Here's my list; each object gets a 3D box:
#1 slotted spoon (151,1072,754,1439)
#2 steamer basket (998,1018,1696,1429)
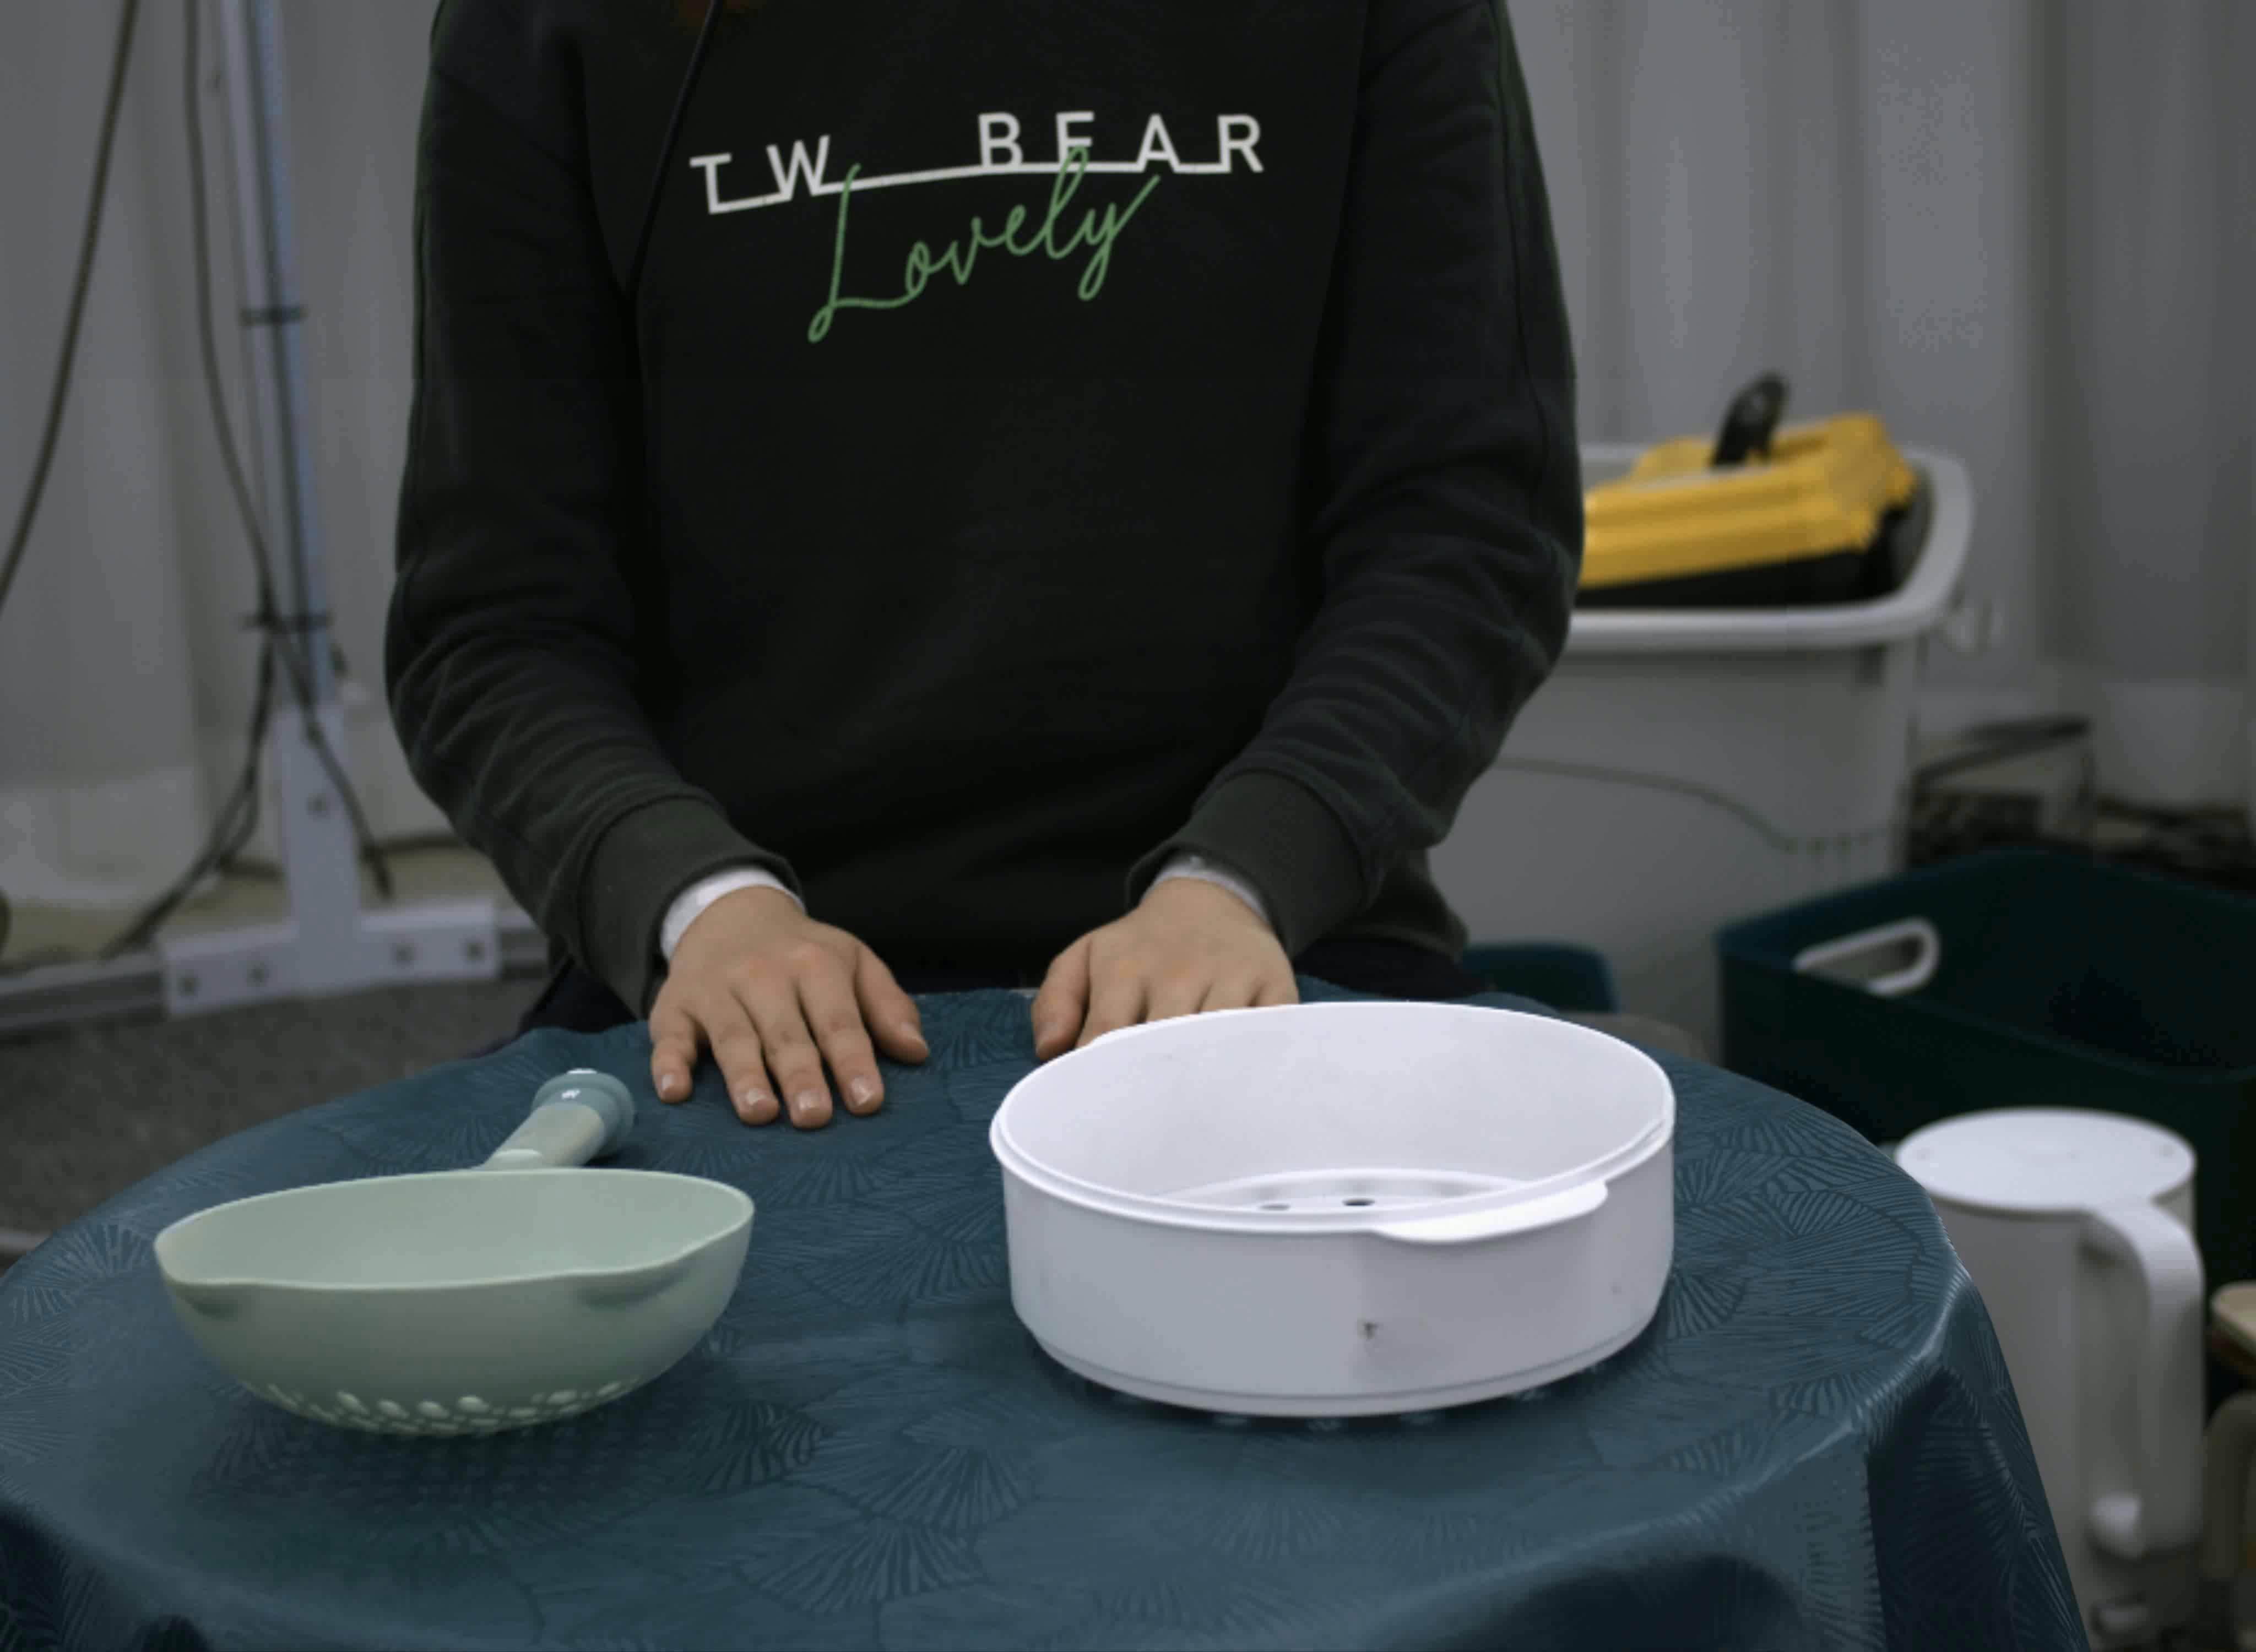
[{"bbox_3d":[-0.183,0.112,1.634,0.169,0.075,0.361,-1,15,4],"label":"slotted spoon"},{"bbox_3d":[0.064,0.114,1.581,0.201,0.069,0.232,-8,16,-24],"label":"steamer basket"}]
